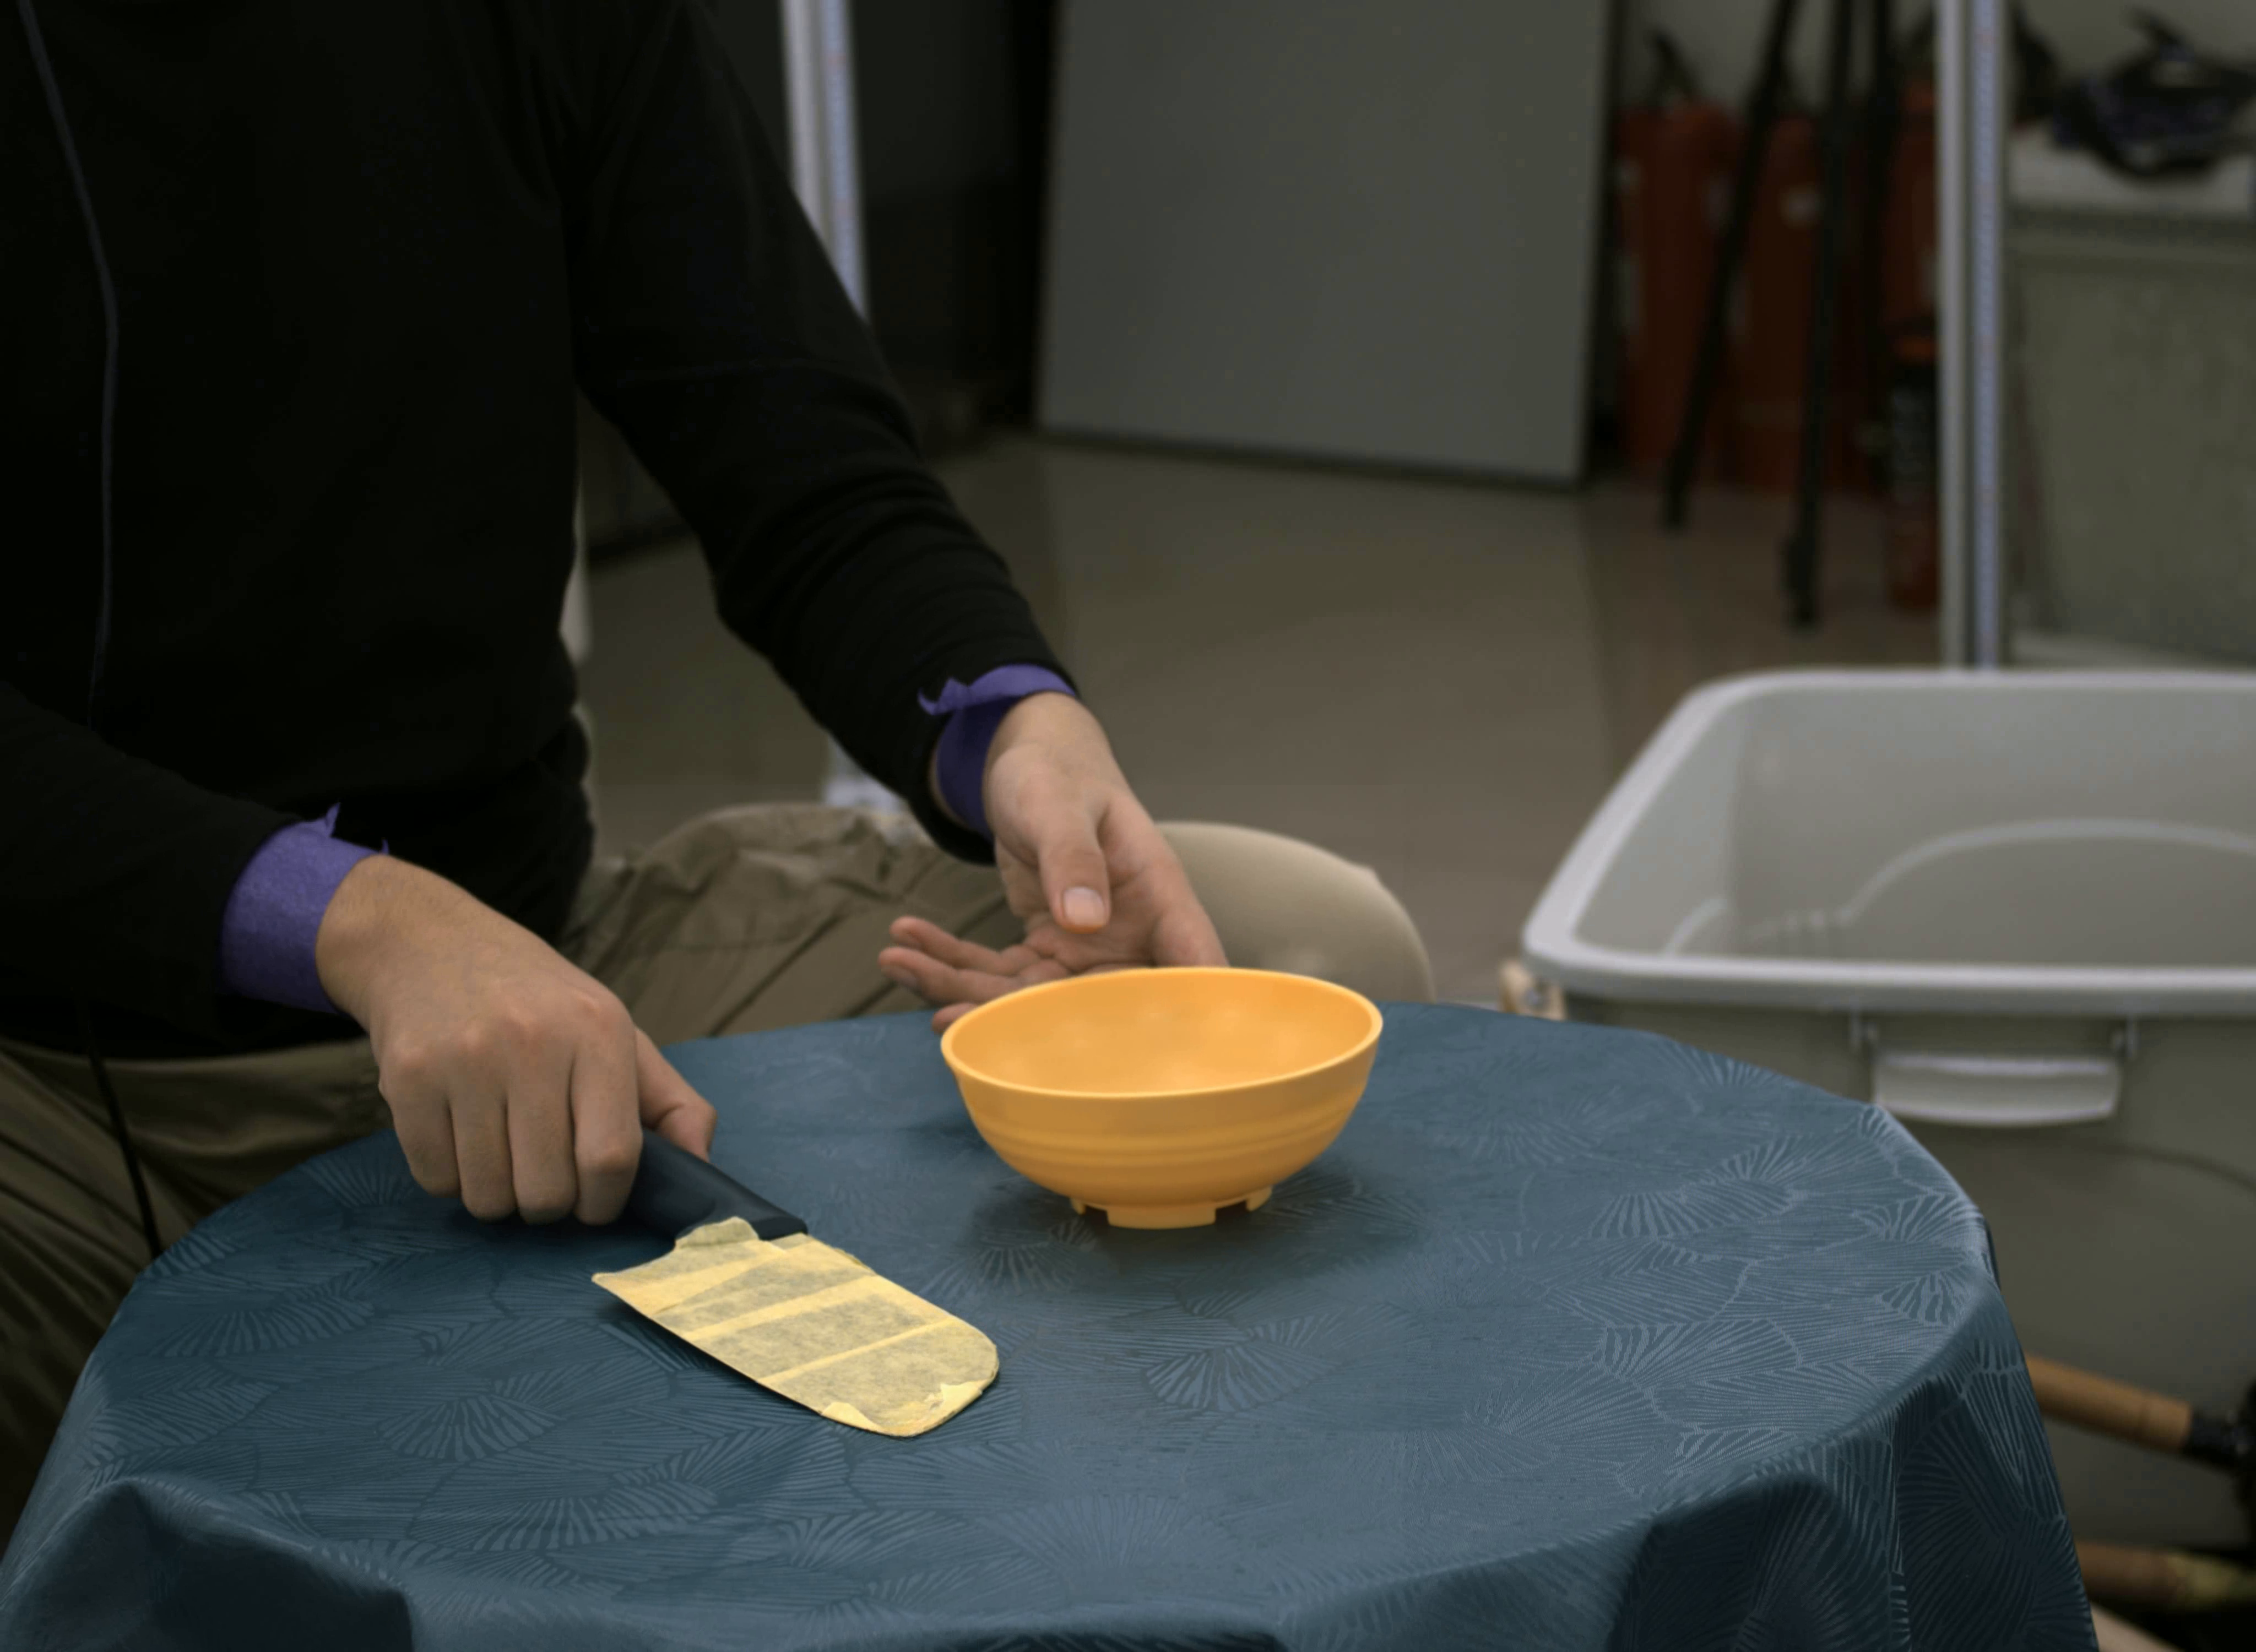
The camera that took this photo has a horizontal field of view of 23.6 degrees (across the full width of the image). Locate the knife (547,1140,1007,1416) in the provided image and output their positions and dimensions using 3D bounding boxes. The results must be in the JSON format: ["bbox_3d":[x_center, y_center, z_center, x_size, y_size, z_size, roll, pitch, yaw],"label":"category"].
[{"bbox_3d":[-0.123,0.143,1.695,0.079,0.027,0.292,-10,16,-28],"label":"knife"}]

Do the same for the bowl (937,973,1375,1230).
[{"bbox_3d":[0.010,0.094,1.758,0.143,0.061,0.145,-2,13,0],"label":"bowl"}]
